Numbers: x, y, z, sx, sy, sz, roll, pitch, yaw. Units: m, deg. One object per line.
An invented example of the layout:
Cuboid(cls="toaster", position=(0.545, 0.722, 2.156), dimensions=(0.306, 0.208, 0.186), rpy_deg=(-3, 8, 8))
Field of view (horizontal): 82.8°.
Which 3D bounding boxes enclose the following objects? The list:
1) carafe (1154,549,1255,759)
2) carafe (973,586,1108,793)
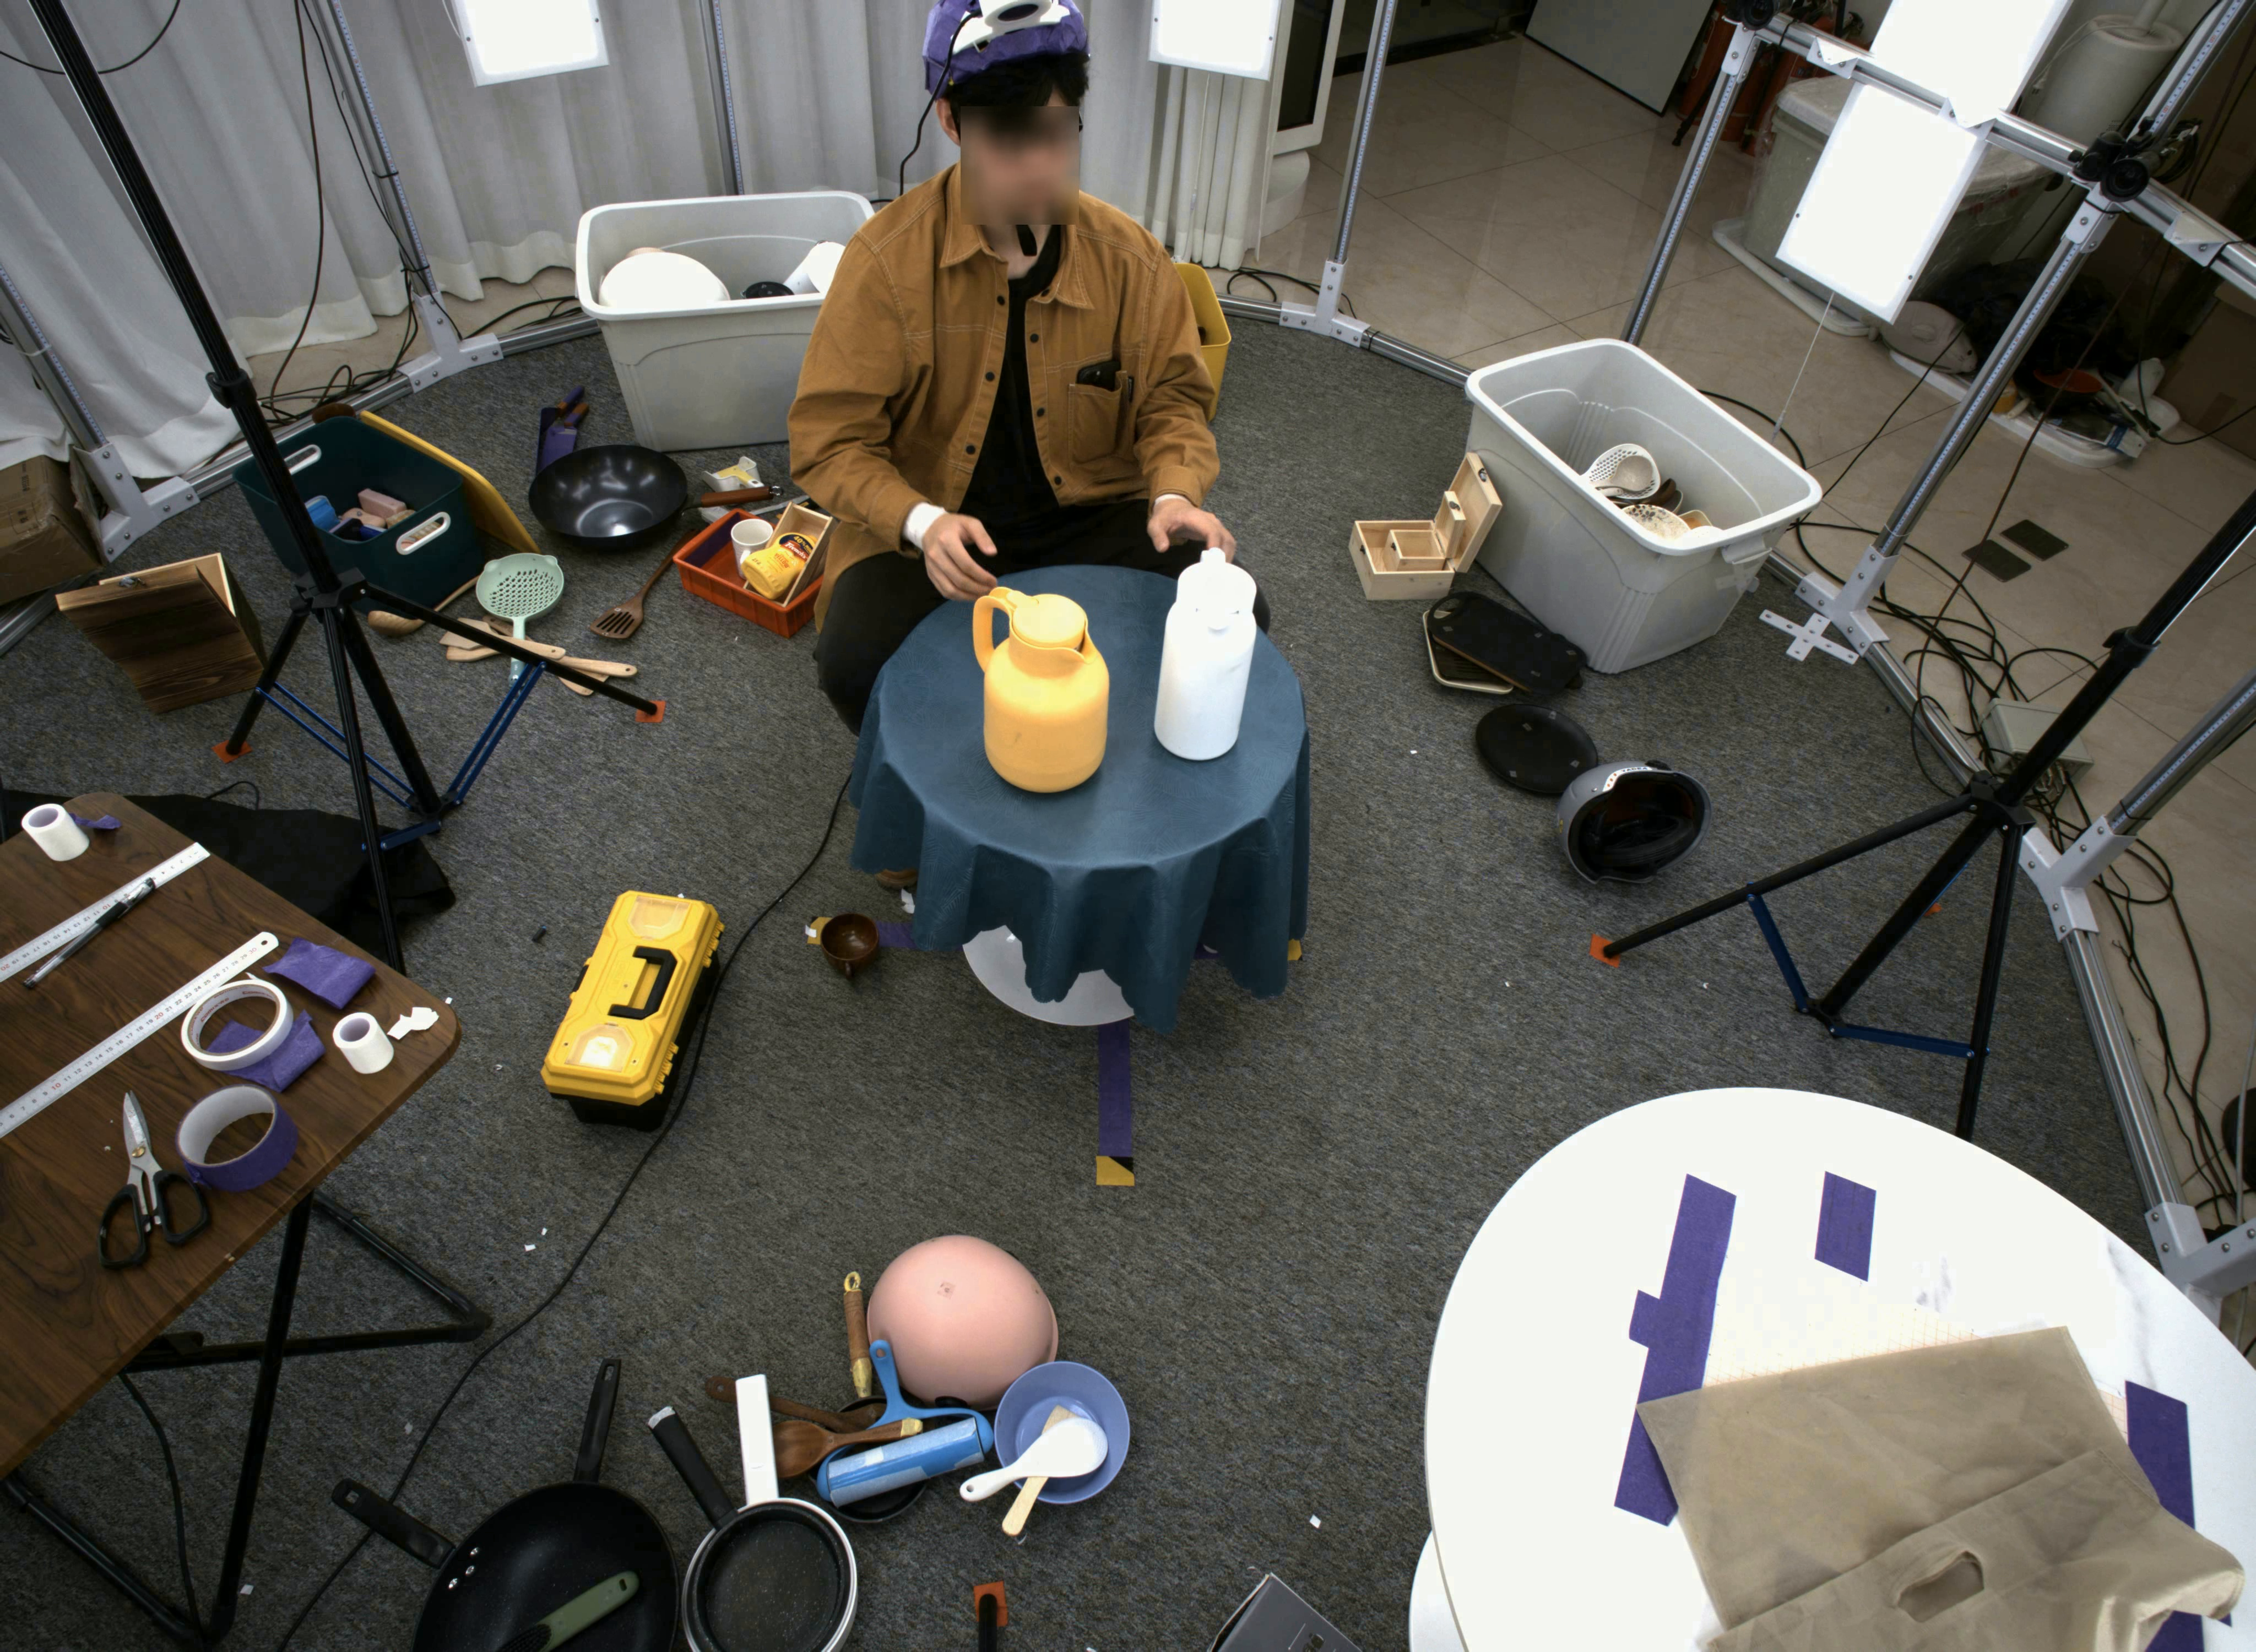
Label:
Cuboid(cls="carafe", position=(0.100, -0.229, 1.701), dimensions=(0.124, 0.262, 0.177), rpy_deg=(1, 49, -1))
Cuboid(cls="carafe", position=(-0.119, -0.186, 1.655), dimensions=(0.205, 0.254, 0.165), rpy_deg=(39, 55, 24))
